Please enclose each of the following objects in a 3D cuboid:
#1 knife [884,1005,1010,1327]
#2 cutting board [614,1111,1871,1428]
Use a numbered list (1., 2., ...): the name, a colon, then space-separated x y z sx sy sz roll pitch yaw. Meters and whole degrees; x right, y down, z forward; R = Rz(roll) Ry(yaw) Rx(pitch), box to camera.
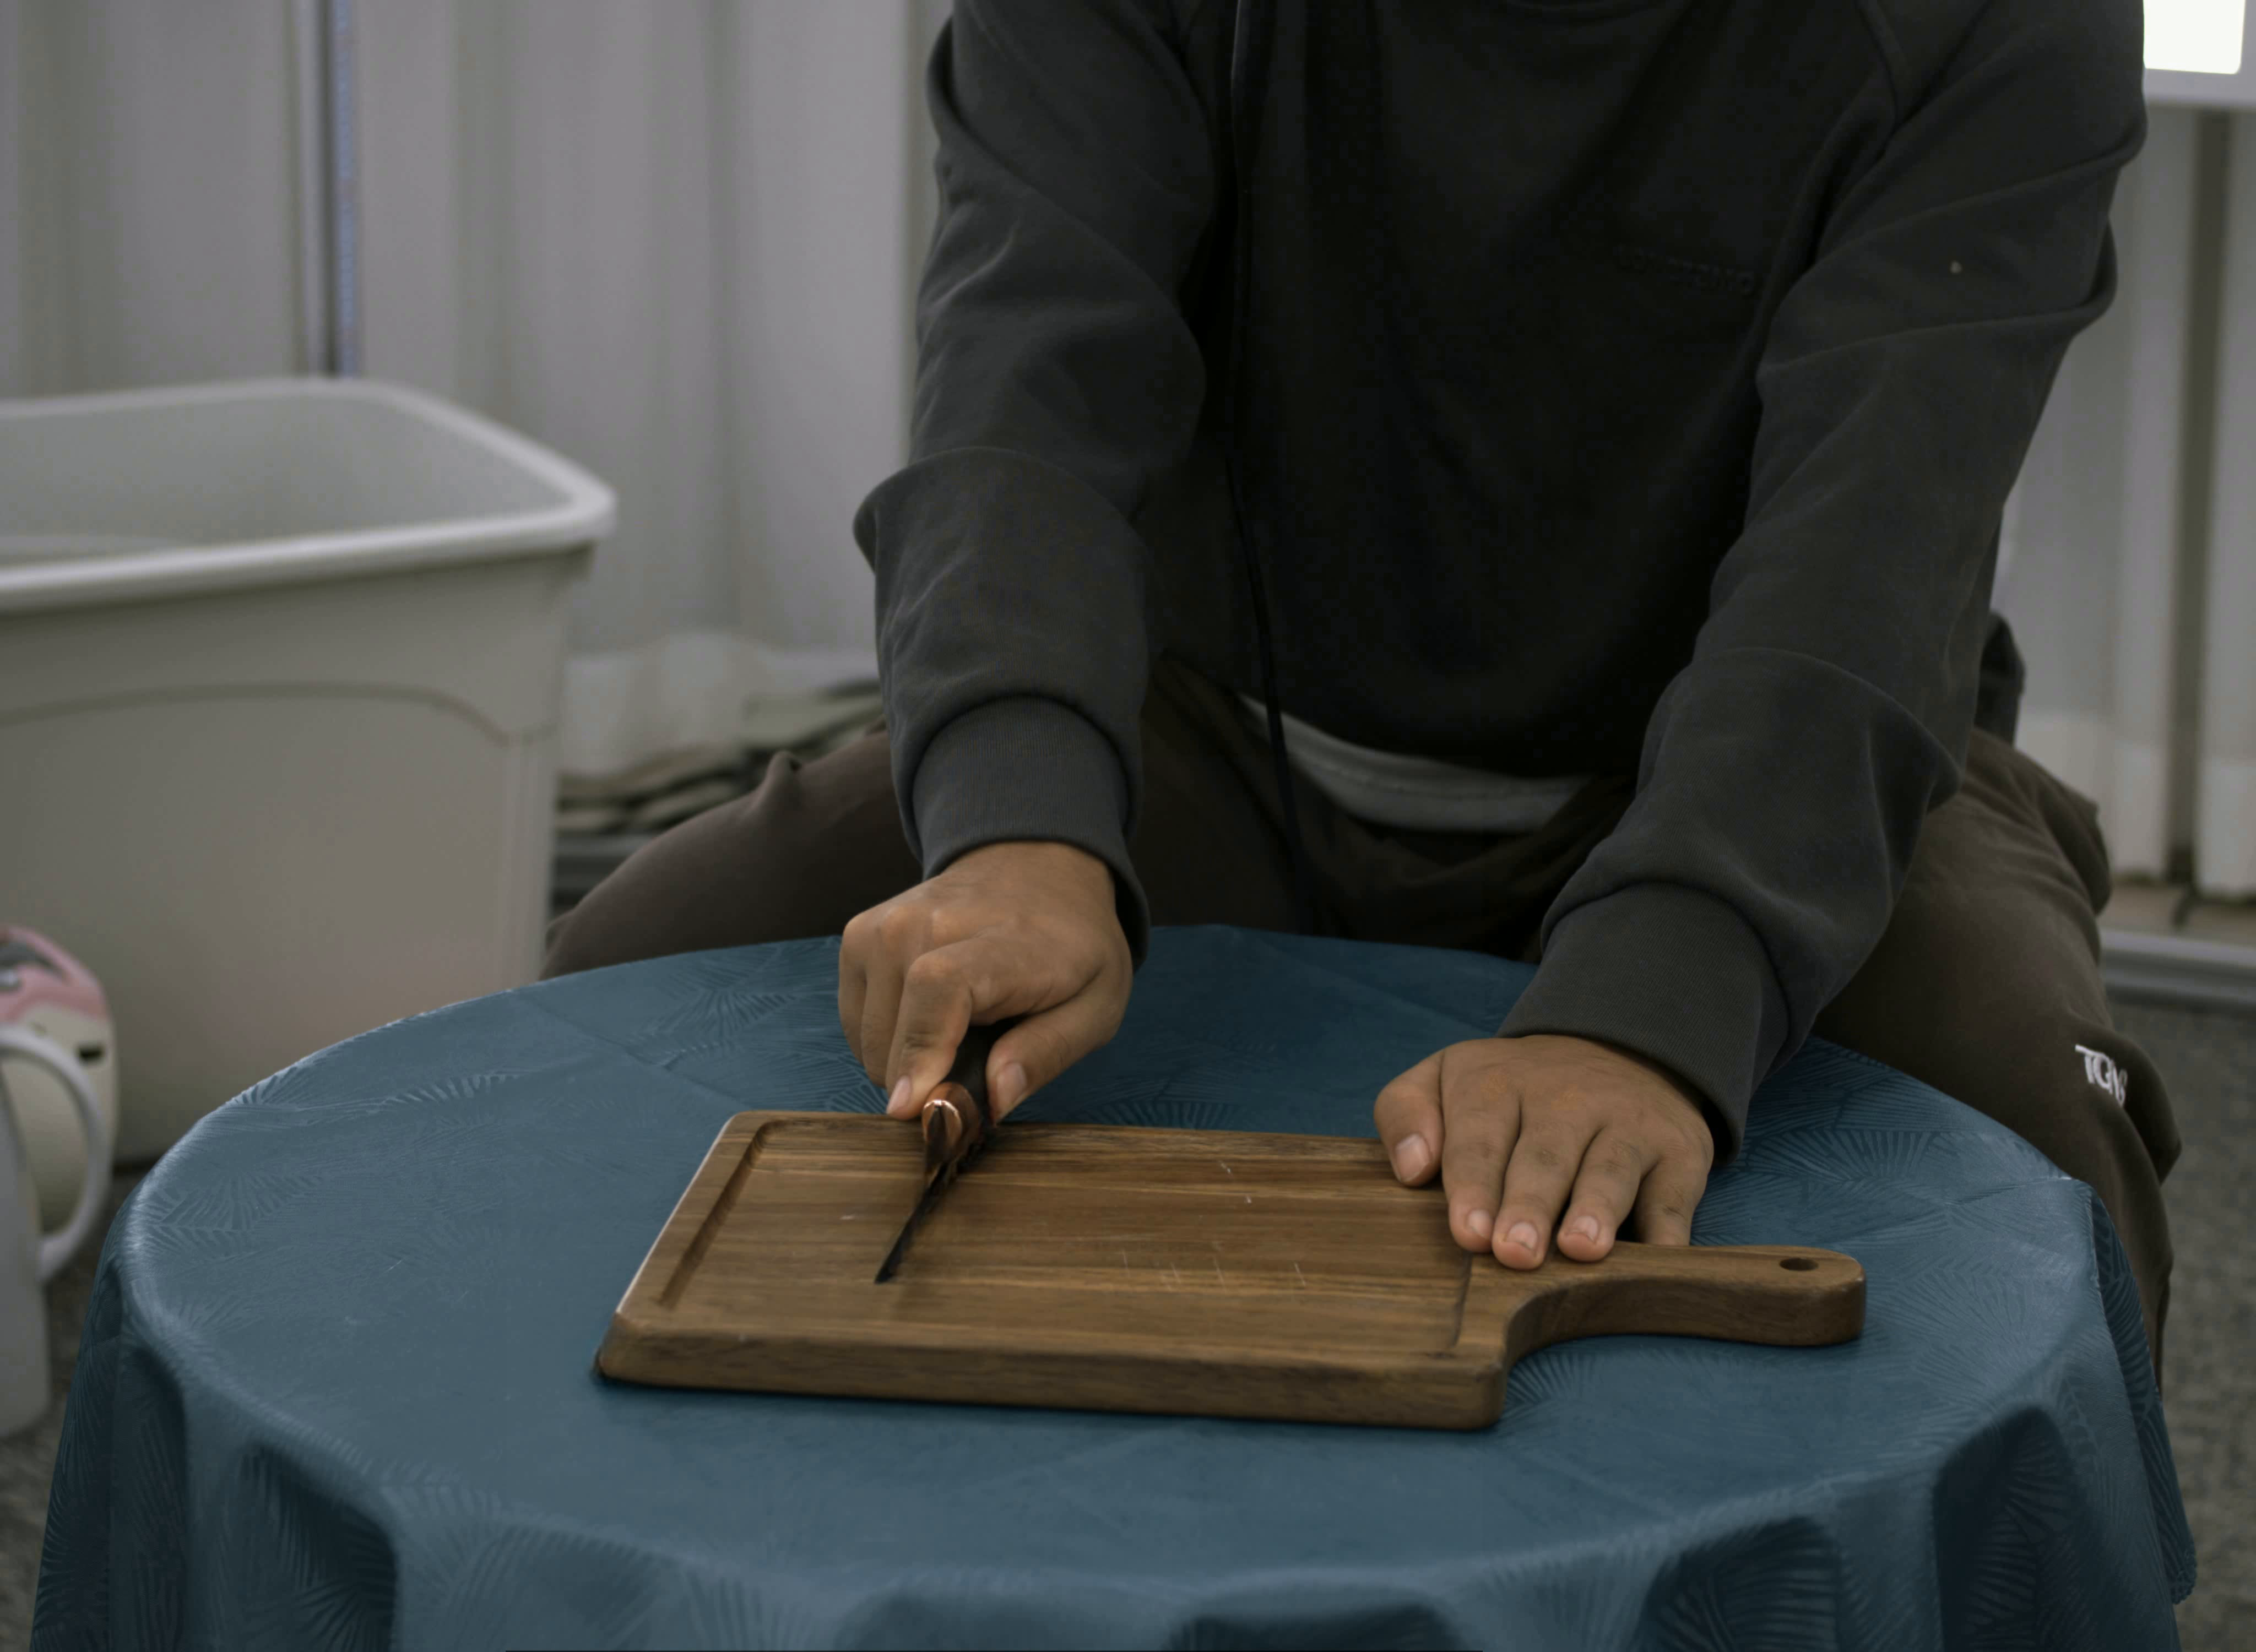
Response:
1. knife: -0.055 0.098 1.569 0.017 0.026 0.224 -7 17 8
2. cutting board: 0.039 0.128 1.531 0.350 0.023 0.200 2 16 5
